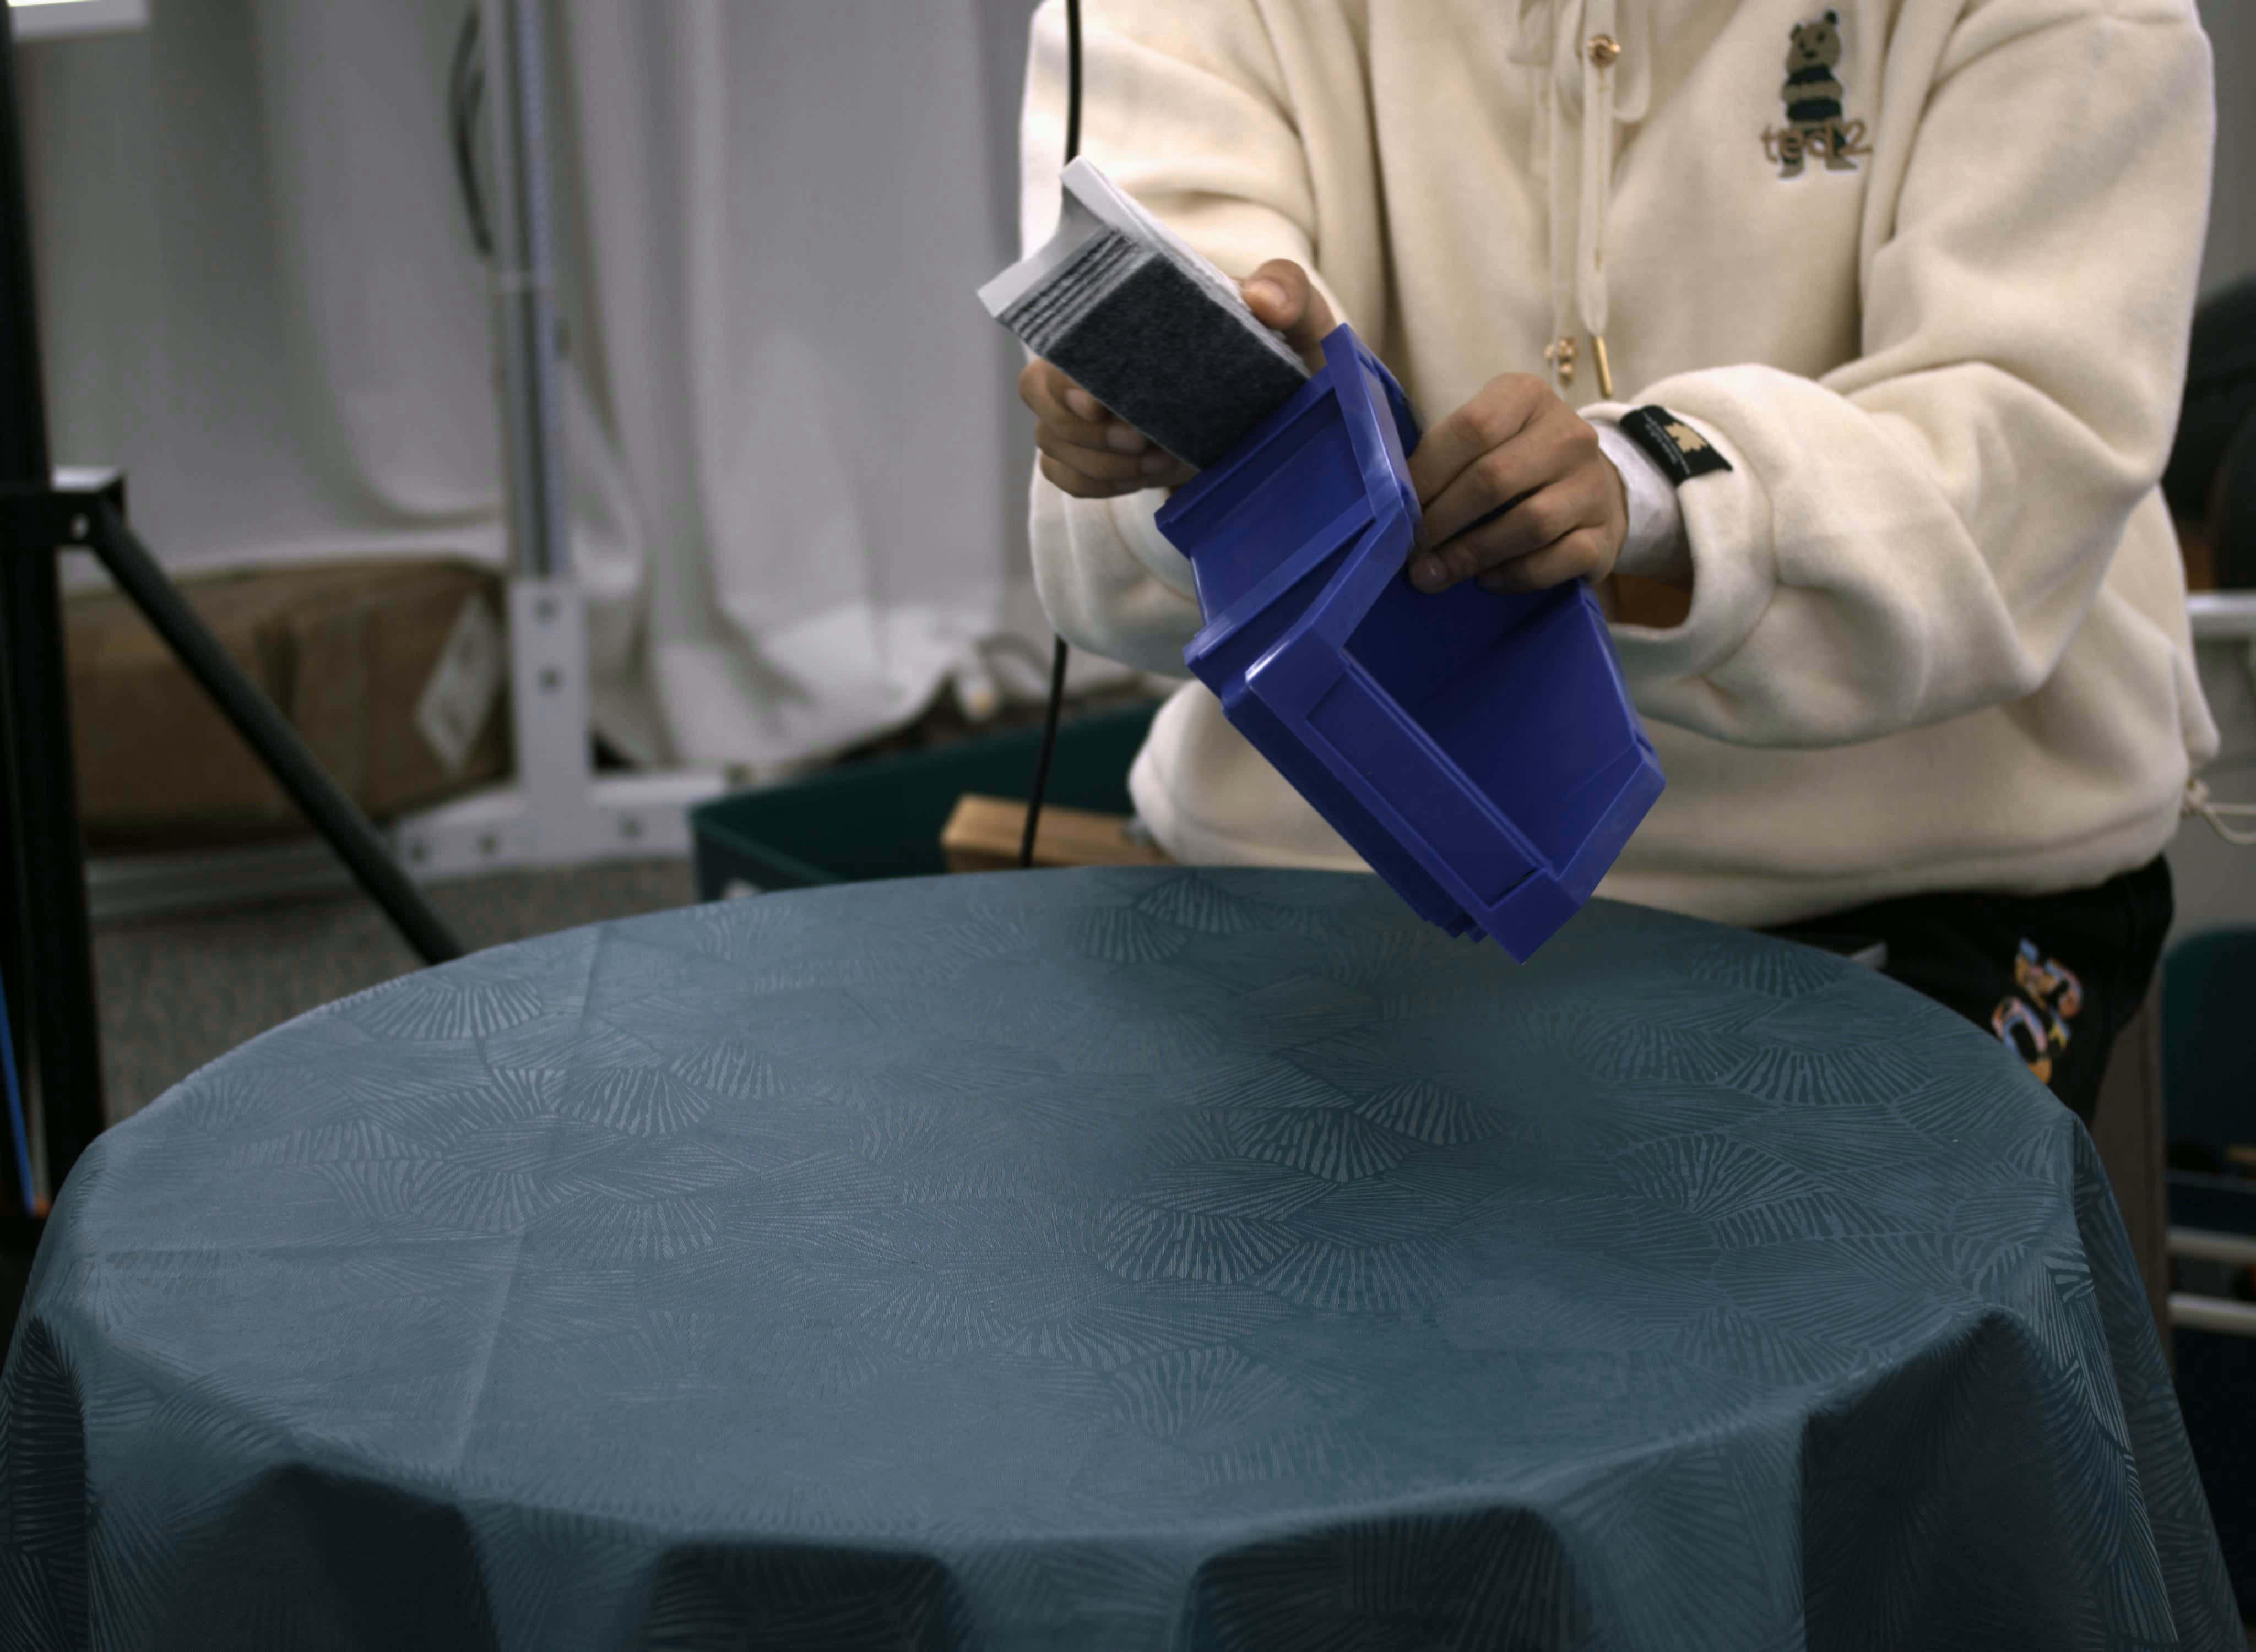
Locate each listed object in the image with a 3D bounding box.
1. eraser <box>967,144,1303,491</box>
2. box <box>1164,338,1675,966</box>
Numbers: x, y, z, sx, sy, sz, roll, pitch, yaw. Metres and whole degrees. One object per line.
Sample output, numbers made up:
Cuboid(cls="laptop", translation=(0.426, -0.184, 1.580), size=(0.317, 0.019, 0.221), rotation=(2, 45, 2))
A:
Cuboid(cls="eraser", translation=(0.005, -0.147, 1.568), size=(0.047, 0.050, 0.131), rotation=(51, 6, 24))
Cuboid(cls="box", translation=(0.085, -0.047, 1.548), size=(0.082, 0.123, 0.181), rotation=(-41, 19, 11))
